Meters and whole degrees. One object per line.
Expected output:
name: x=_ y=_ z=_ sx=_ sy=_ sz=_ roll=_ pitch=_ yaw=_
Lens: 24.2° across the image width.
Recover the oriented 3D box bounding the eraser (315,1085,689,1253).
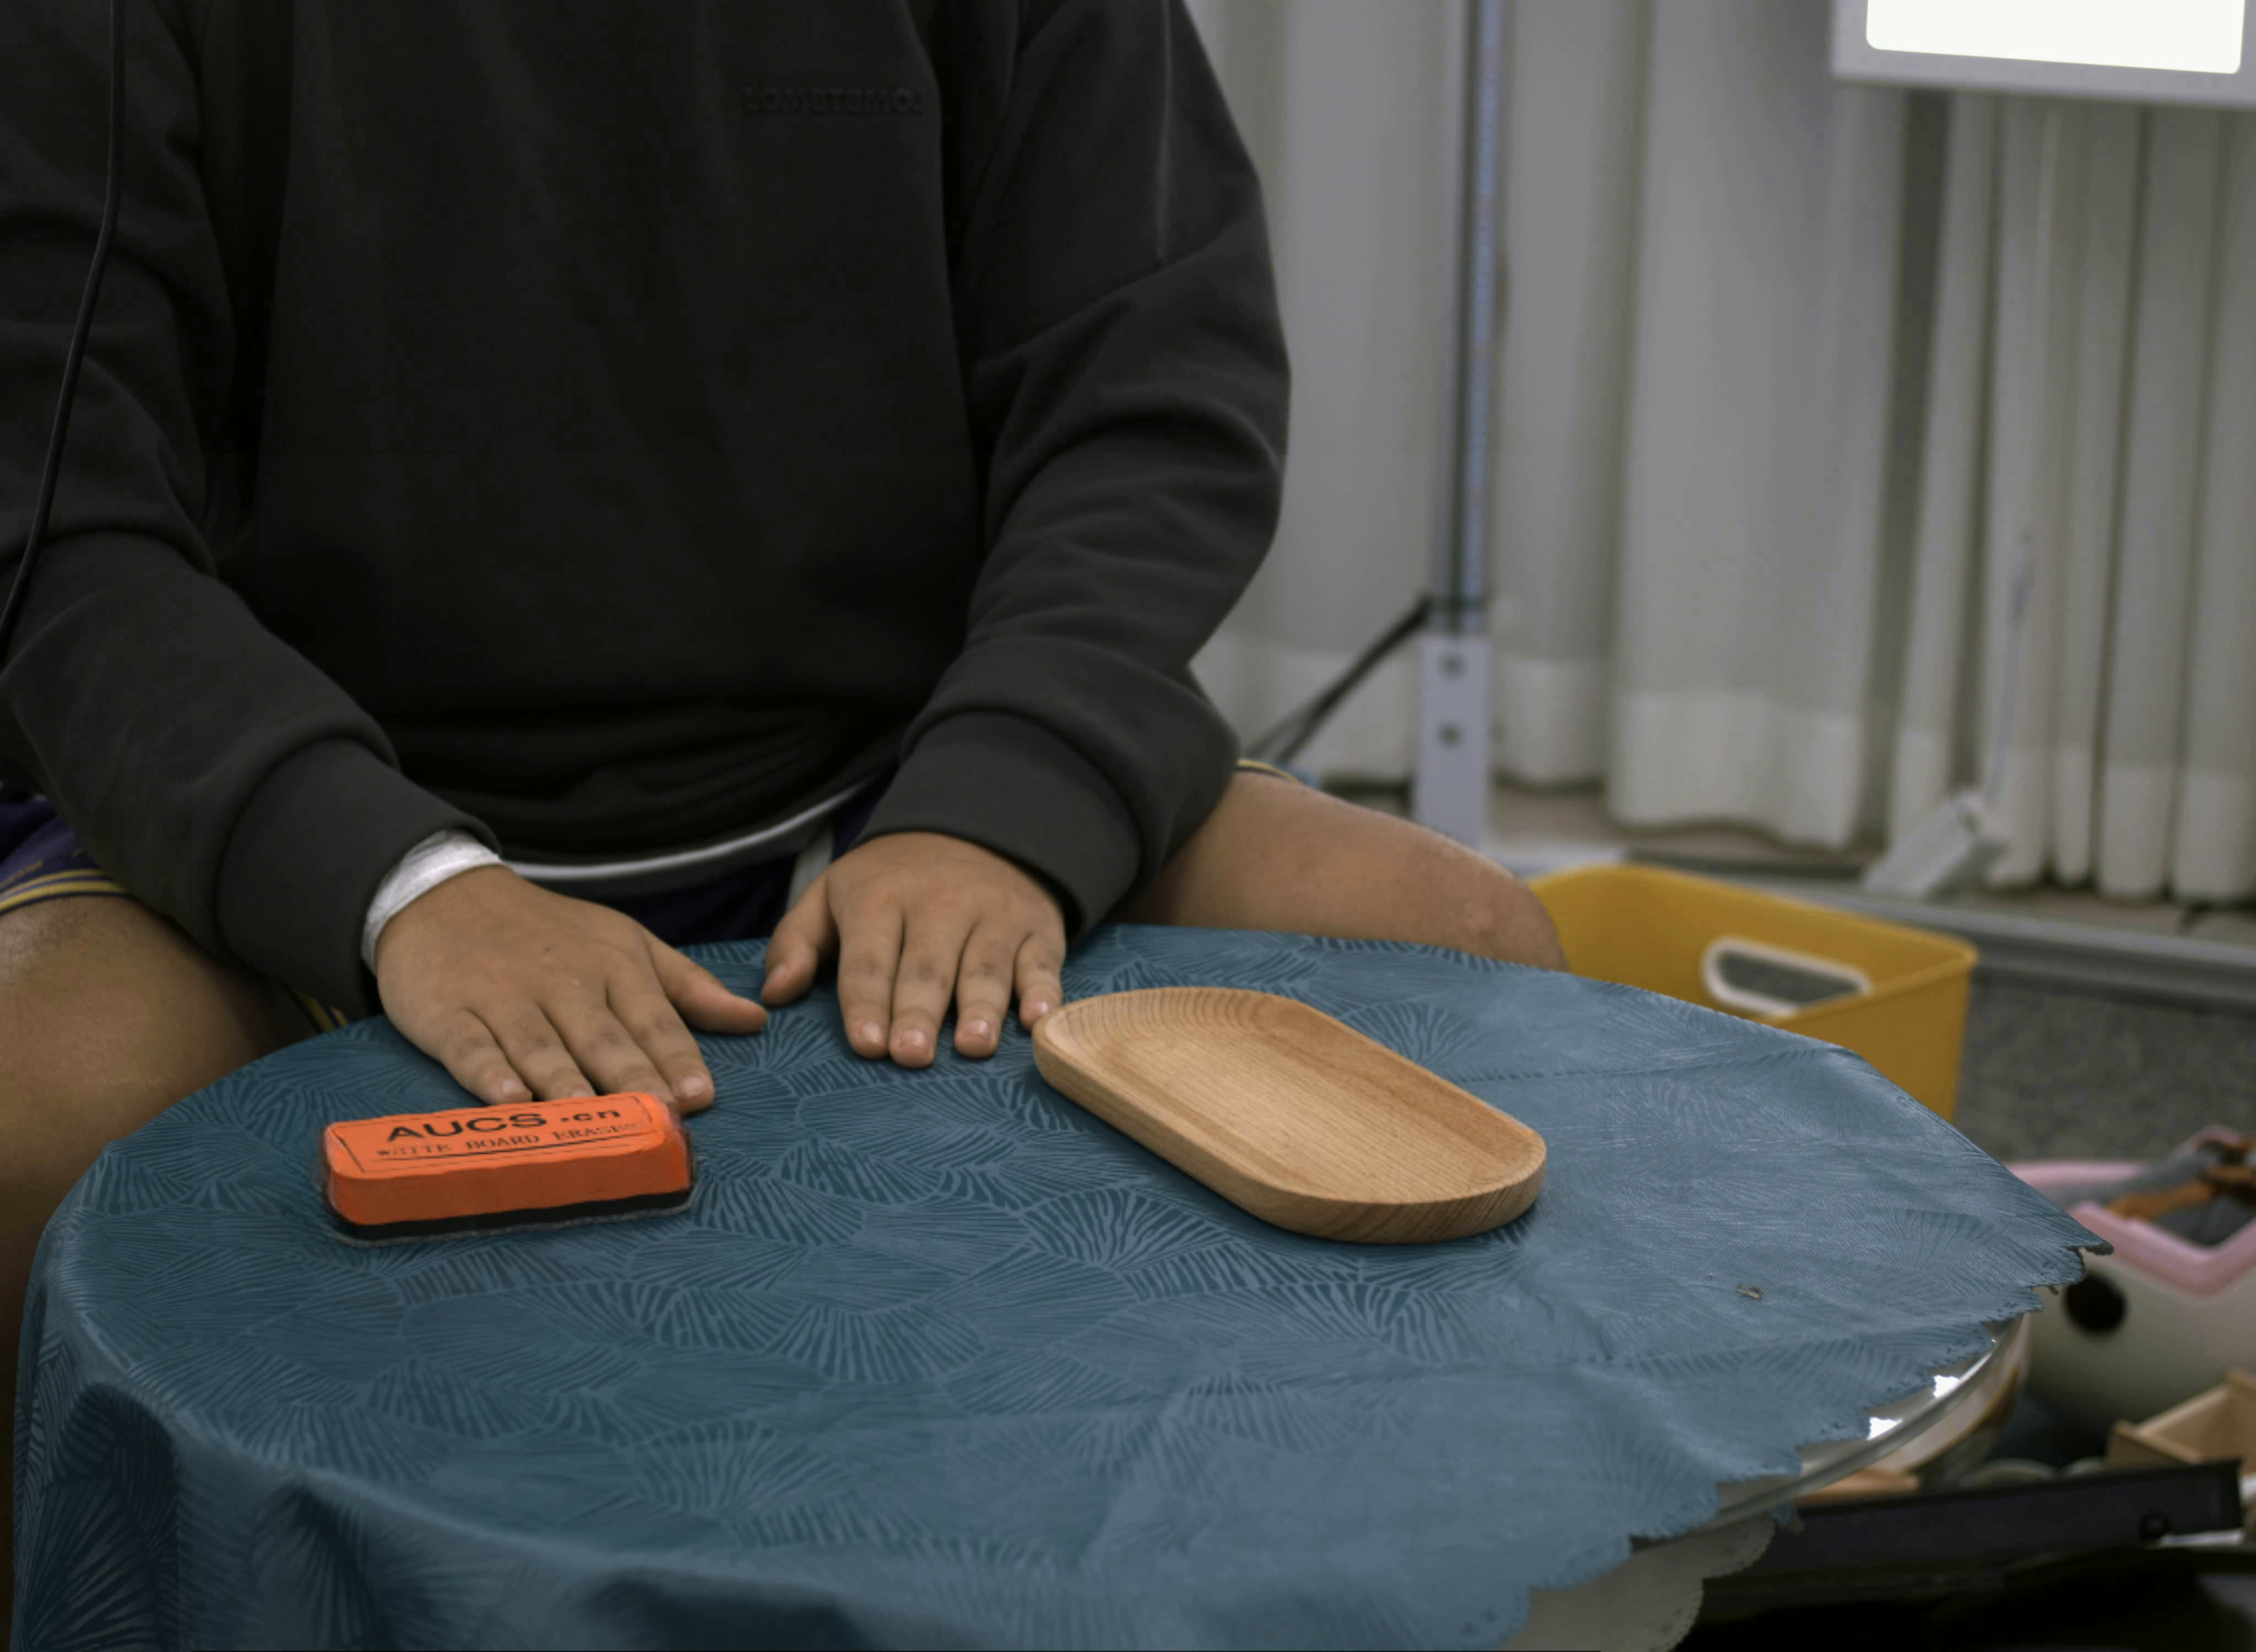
eraser: x=-0.190 y=0.104 z=1.602 sx=0.108 sy=0.023 sz=0.058 roll=-5 pitch=24 yaw=-18

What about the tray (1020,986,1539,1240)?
tray: x=0.046 y=0.089 z=1.677 sx=0.102 sy=0.020 sz=0.228 roll=-7 pitch=16 yaw=-28
